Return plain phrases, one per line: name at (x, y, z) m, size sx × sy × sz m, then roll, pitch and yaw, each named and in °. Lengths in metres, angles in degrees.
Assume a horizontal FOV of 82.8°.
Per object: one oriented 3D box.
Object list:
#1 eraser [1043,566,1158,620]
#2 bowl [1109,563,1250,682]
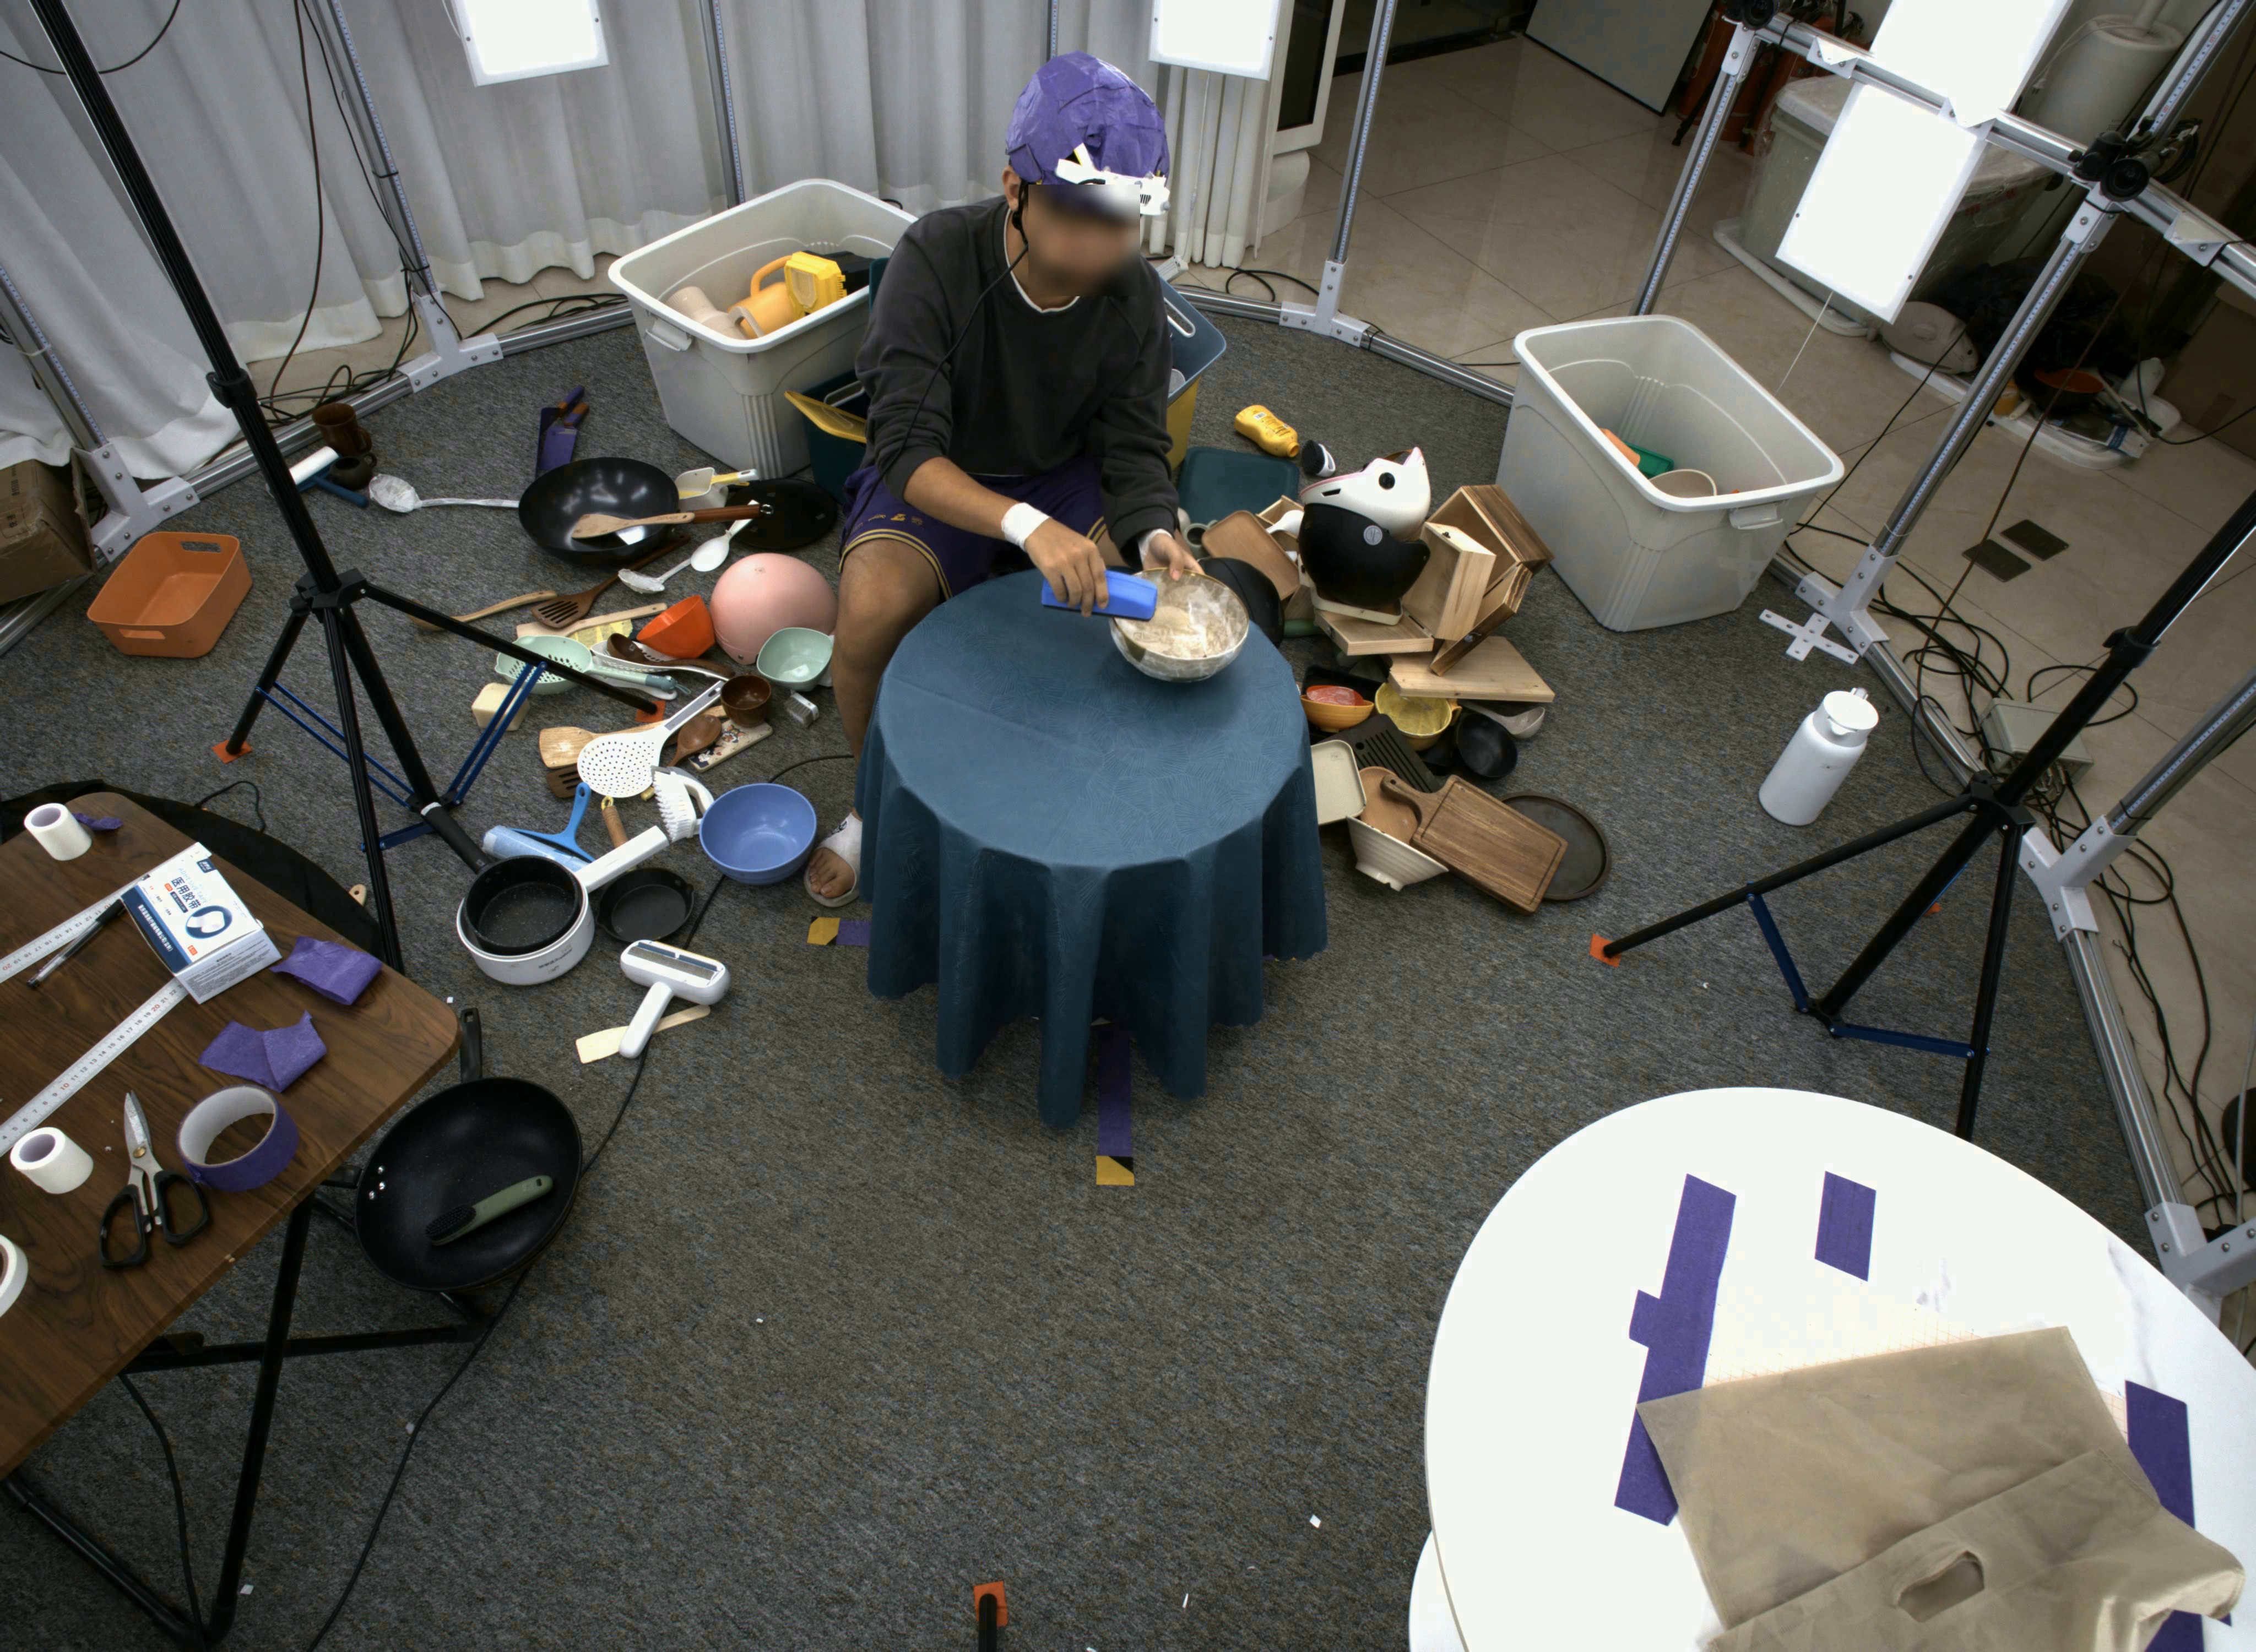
eraser at (-0.039, -0.329, 1.793) m, size 0.162 × 0.046 × 0.055 m, roll 8°, pitch 49°, yaw 9°
bowl at (0.068, -0.277, 1.847) m, size 0.214 × 0.092 × 0.220 m, roll 4°, pitch 47°, yaw -5°
